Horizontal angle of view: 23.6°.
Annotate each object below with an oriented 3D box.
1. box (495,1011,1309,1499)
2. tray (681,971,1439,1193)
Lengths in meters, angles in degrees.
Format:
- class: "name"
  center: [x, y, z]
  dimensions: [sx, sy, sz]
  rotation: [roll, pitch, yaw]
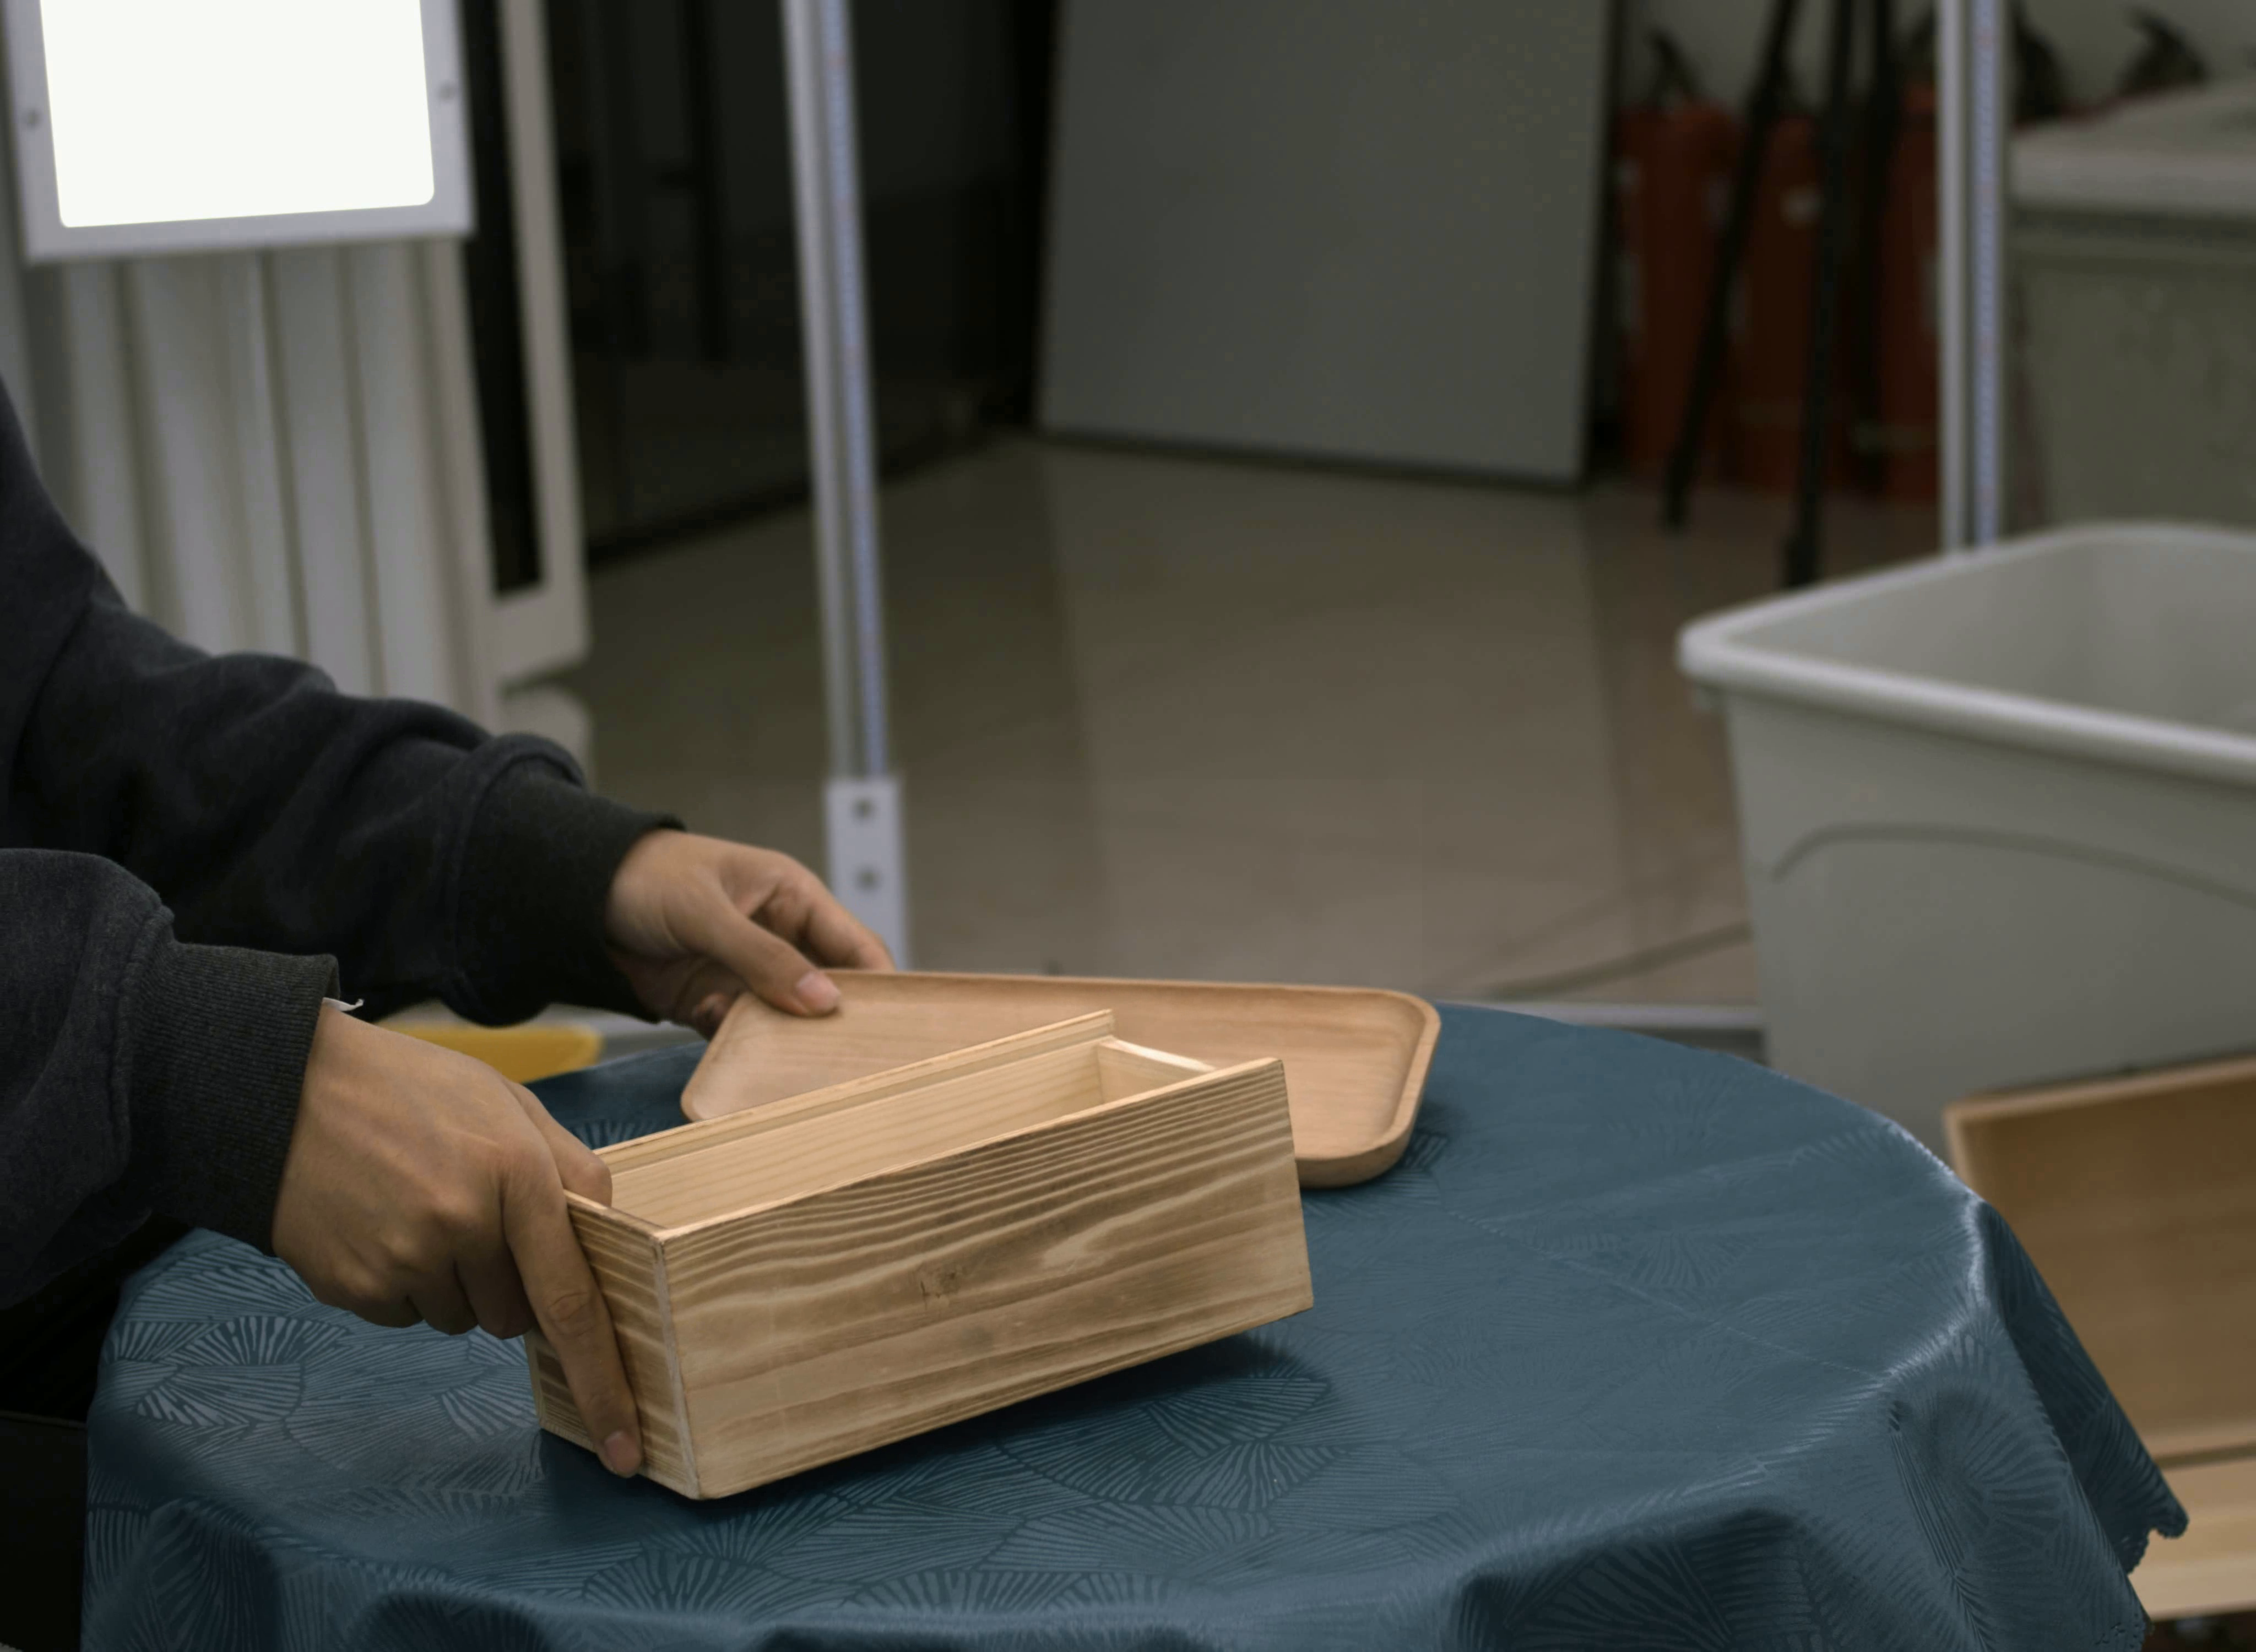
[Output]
- class: "box"
  center: [-0.065, 0.122, 1.584]
  dimensions: [0.207, 0.081, 0.108]
  rotation: [-14, 13, -29]
- class: "tray"
  center: [-0.022, 0.086, 1.826]
  dimensions: [0.249, 0.023, 0.130]
  rotation: [1, 22, 14]
